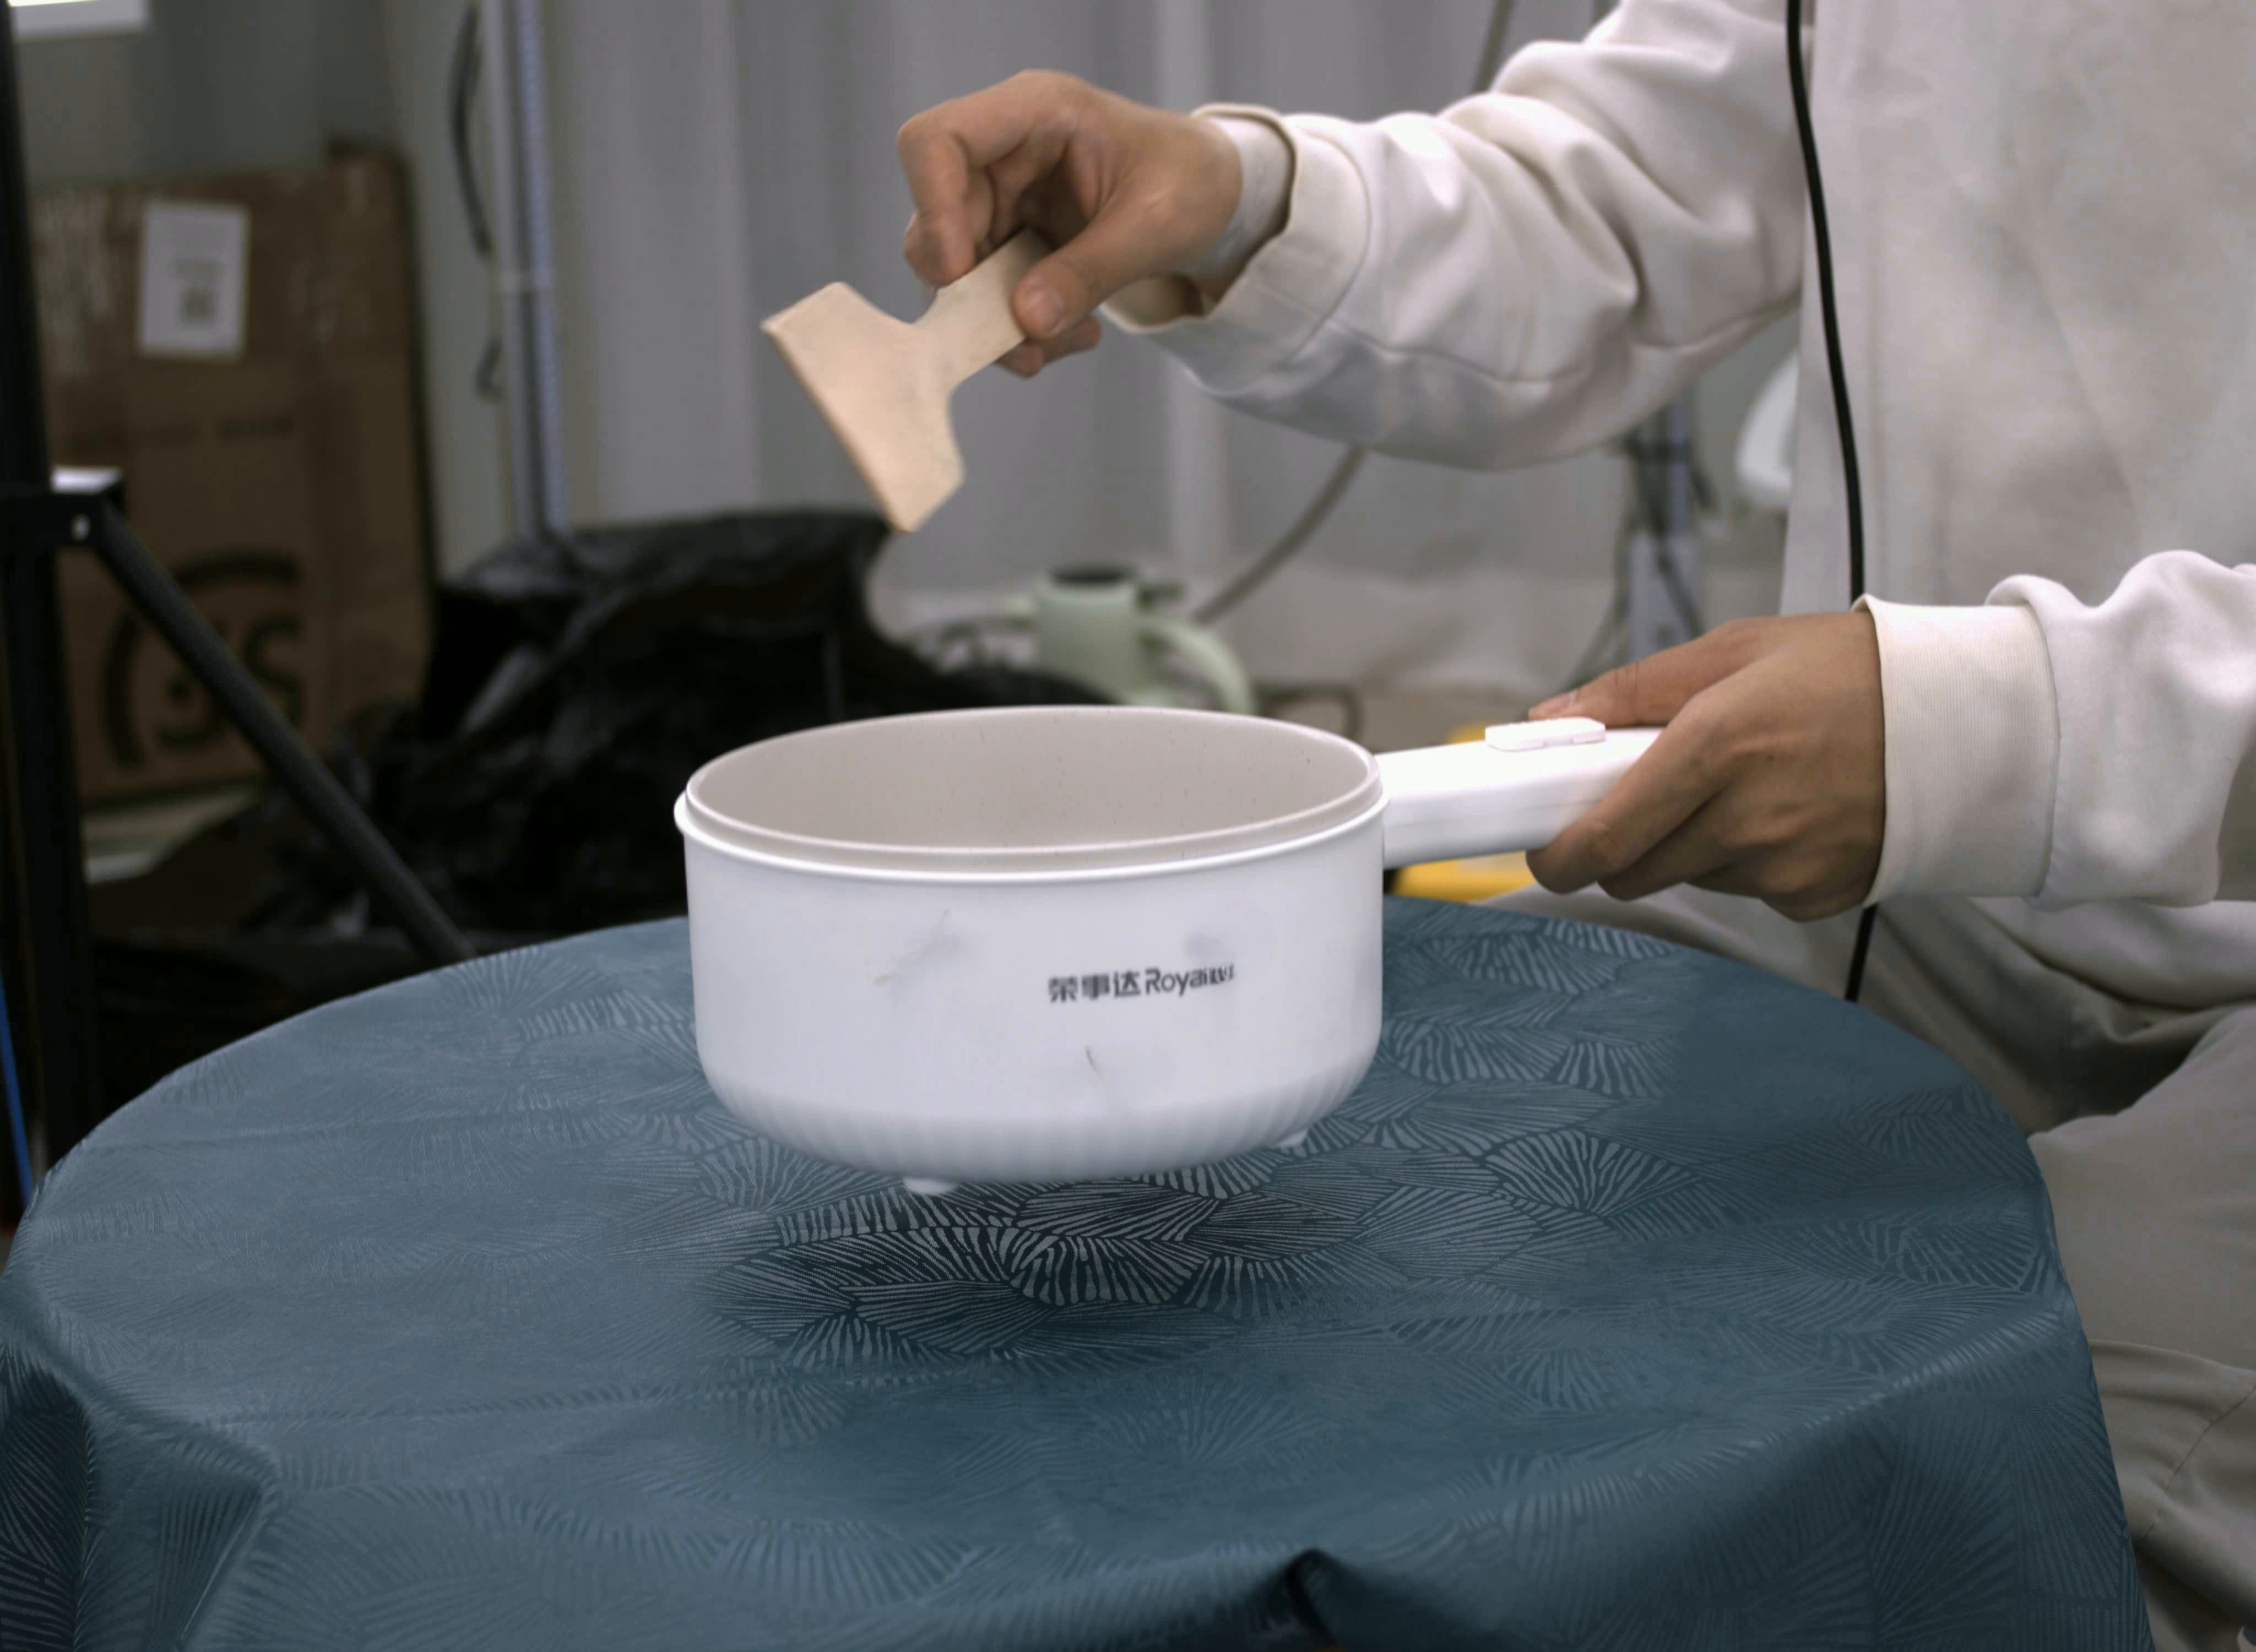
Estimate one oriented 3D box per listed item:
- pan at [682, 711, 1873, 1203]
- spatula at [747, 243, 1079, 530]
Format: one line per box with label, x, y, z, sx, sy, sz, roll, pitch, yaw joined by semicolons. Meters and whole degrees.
pan;0.047;0.031;1.520;0.348;0.102;0.204;-6;12;-19
spatula;-0.057;-0.145;1.609;0.011;0.072;0.291;-33;5;19
